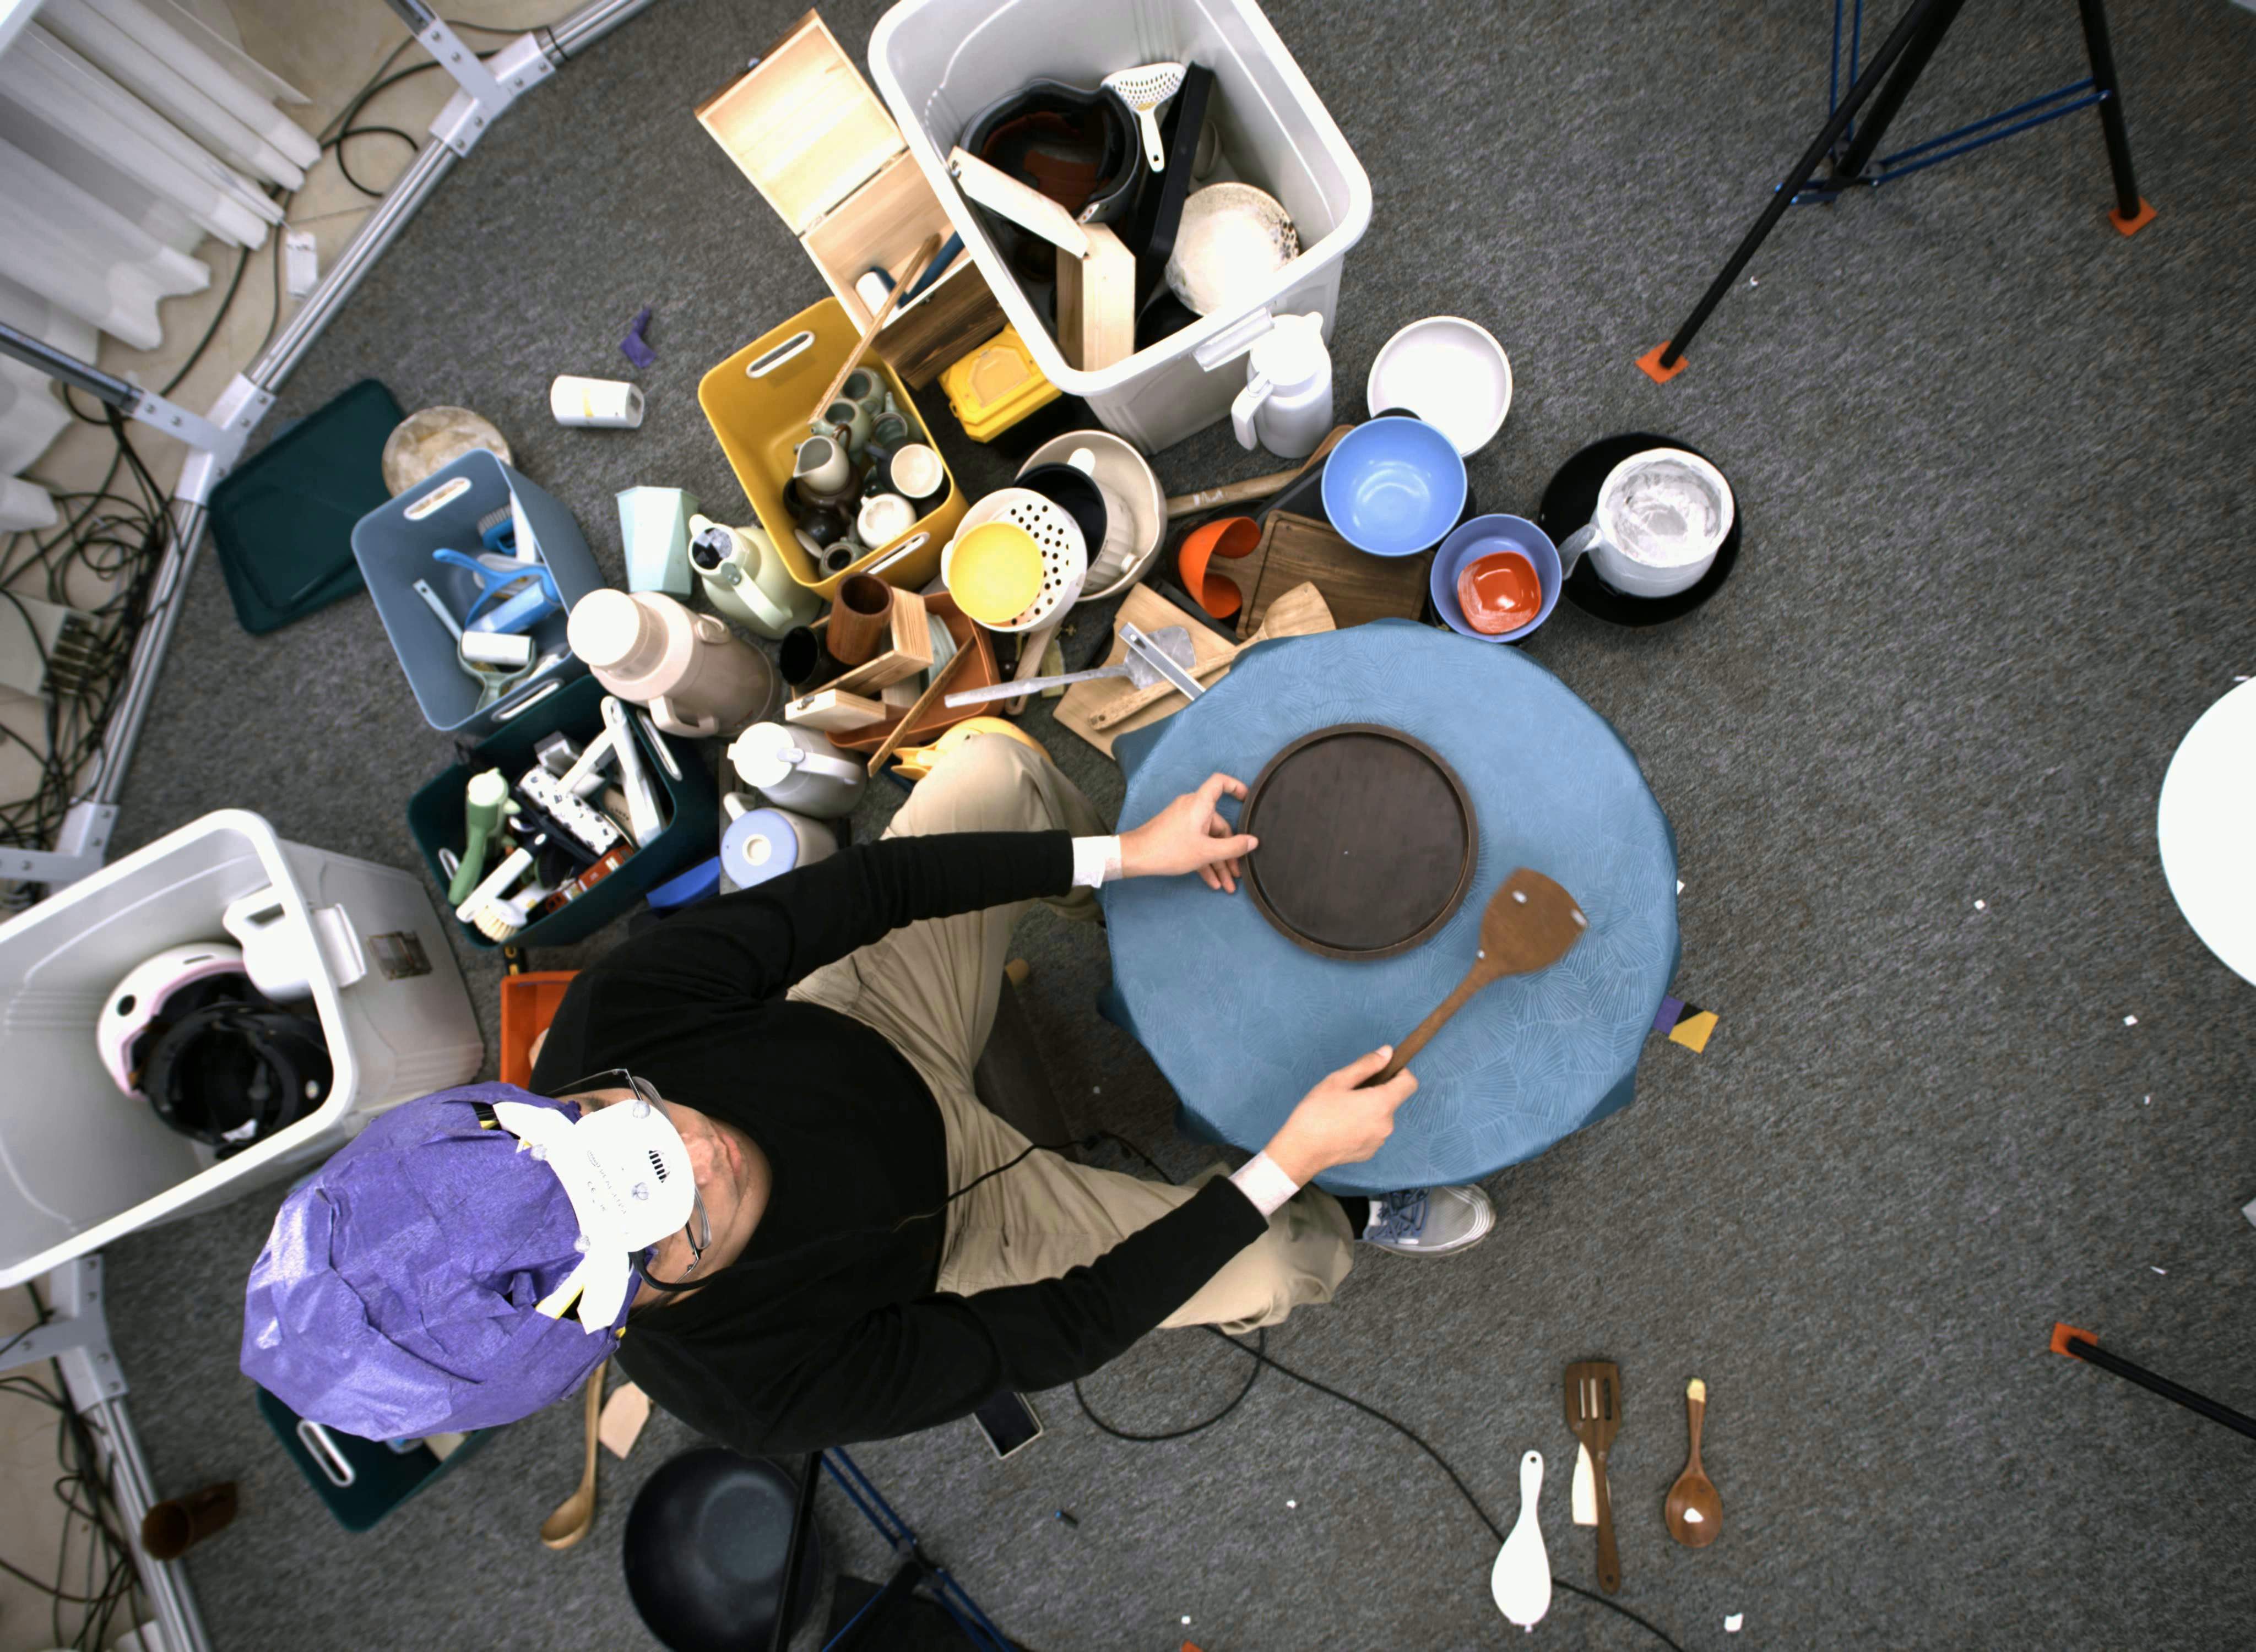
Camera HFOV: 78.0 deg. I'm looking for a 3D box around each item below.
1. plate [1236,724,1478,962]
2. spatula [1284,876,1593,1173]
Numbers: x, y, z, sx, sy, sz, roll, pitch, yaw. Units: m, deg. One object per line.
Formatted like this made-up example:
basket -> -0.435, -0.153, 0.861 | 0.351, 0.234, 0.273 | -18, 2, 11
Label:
plate -> 0.240, 0.016, 1.458 | 0.256, 0.029, 0.254 | -1, 87, 9
spatula -> 0.293, 0.203, 1.350 | 0.388, 0.016, 0.095 | -45, 60, 7
